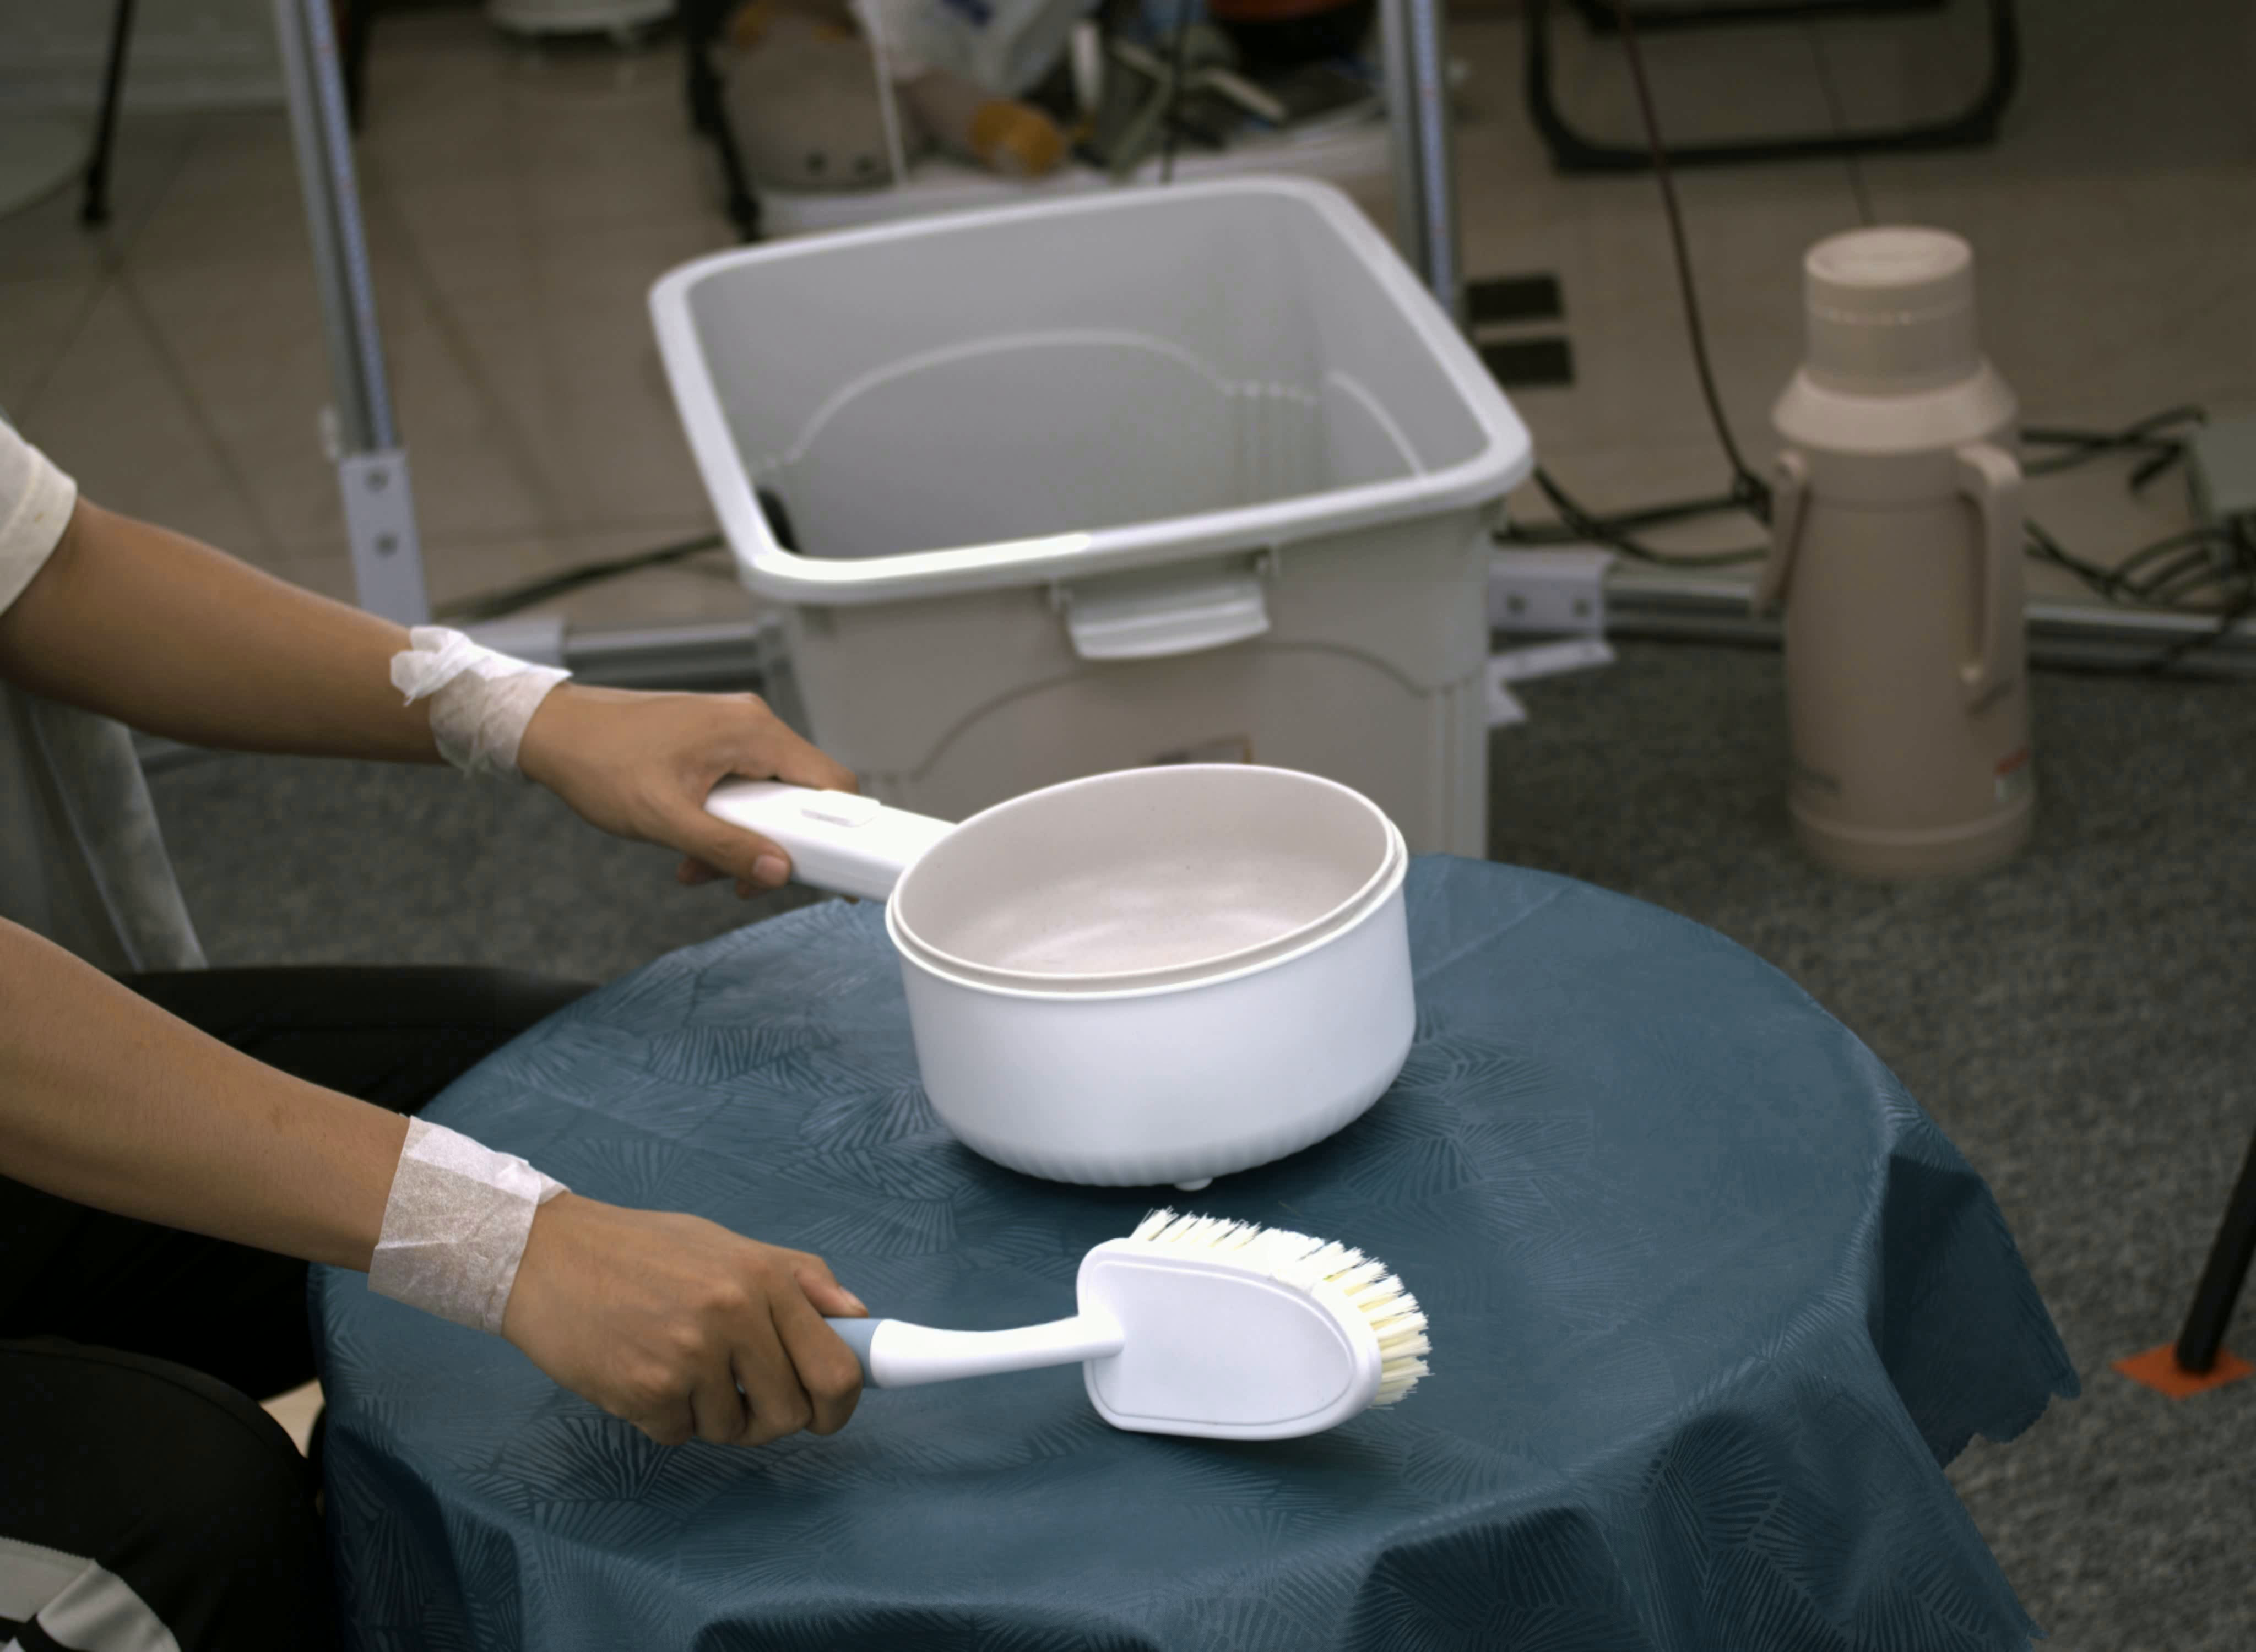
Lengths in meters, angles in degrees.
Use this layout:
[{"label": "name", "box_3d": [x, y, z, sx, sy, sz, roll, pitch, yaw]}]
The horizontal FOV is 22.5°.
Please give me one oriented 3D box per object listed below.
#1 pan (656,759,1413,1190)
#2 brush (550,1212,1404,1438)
[{"label": "pan", "box_3d": [-0.046, 0.049, 2.238, 0.353, 0.103, 0.199, 12, 31, 39]}, {"label": "brush", "box_3d": [-0.051, 0.173, 2.012, 0.325, 0.086, 0.082, -1, 63, 25]}]
